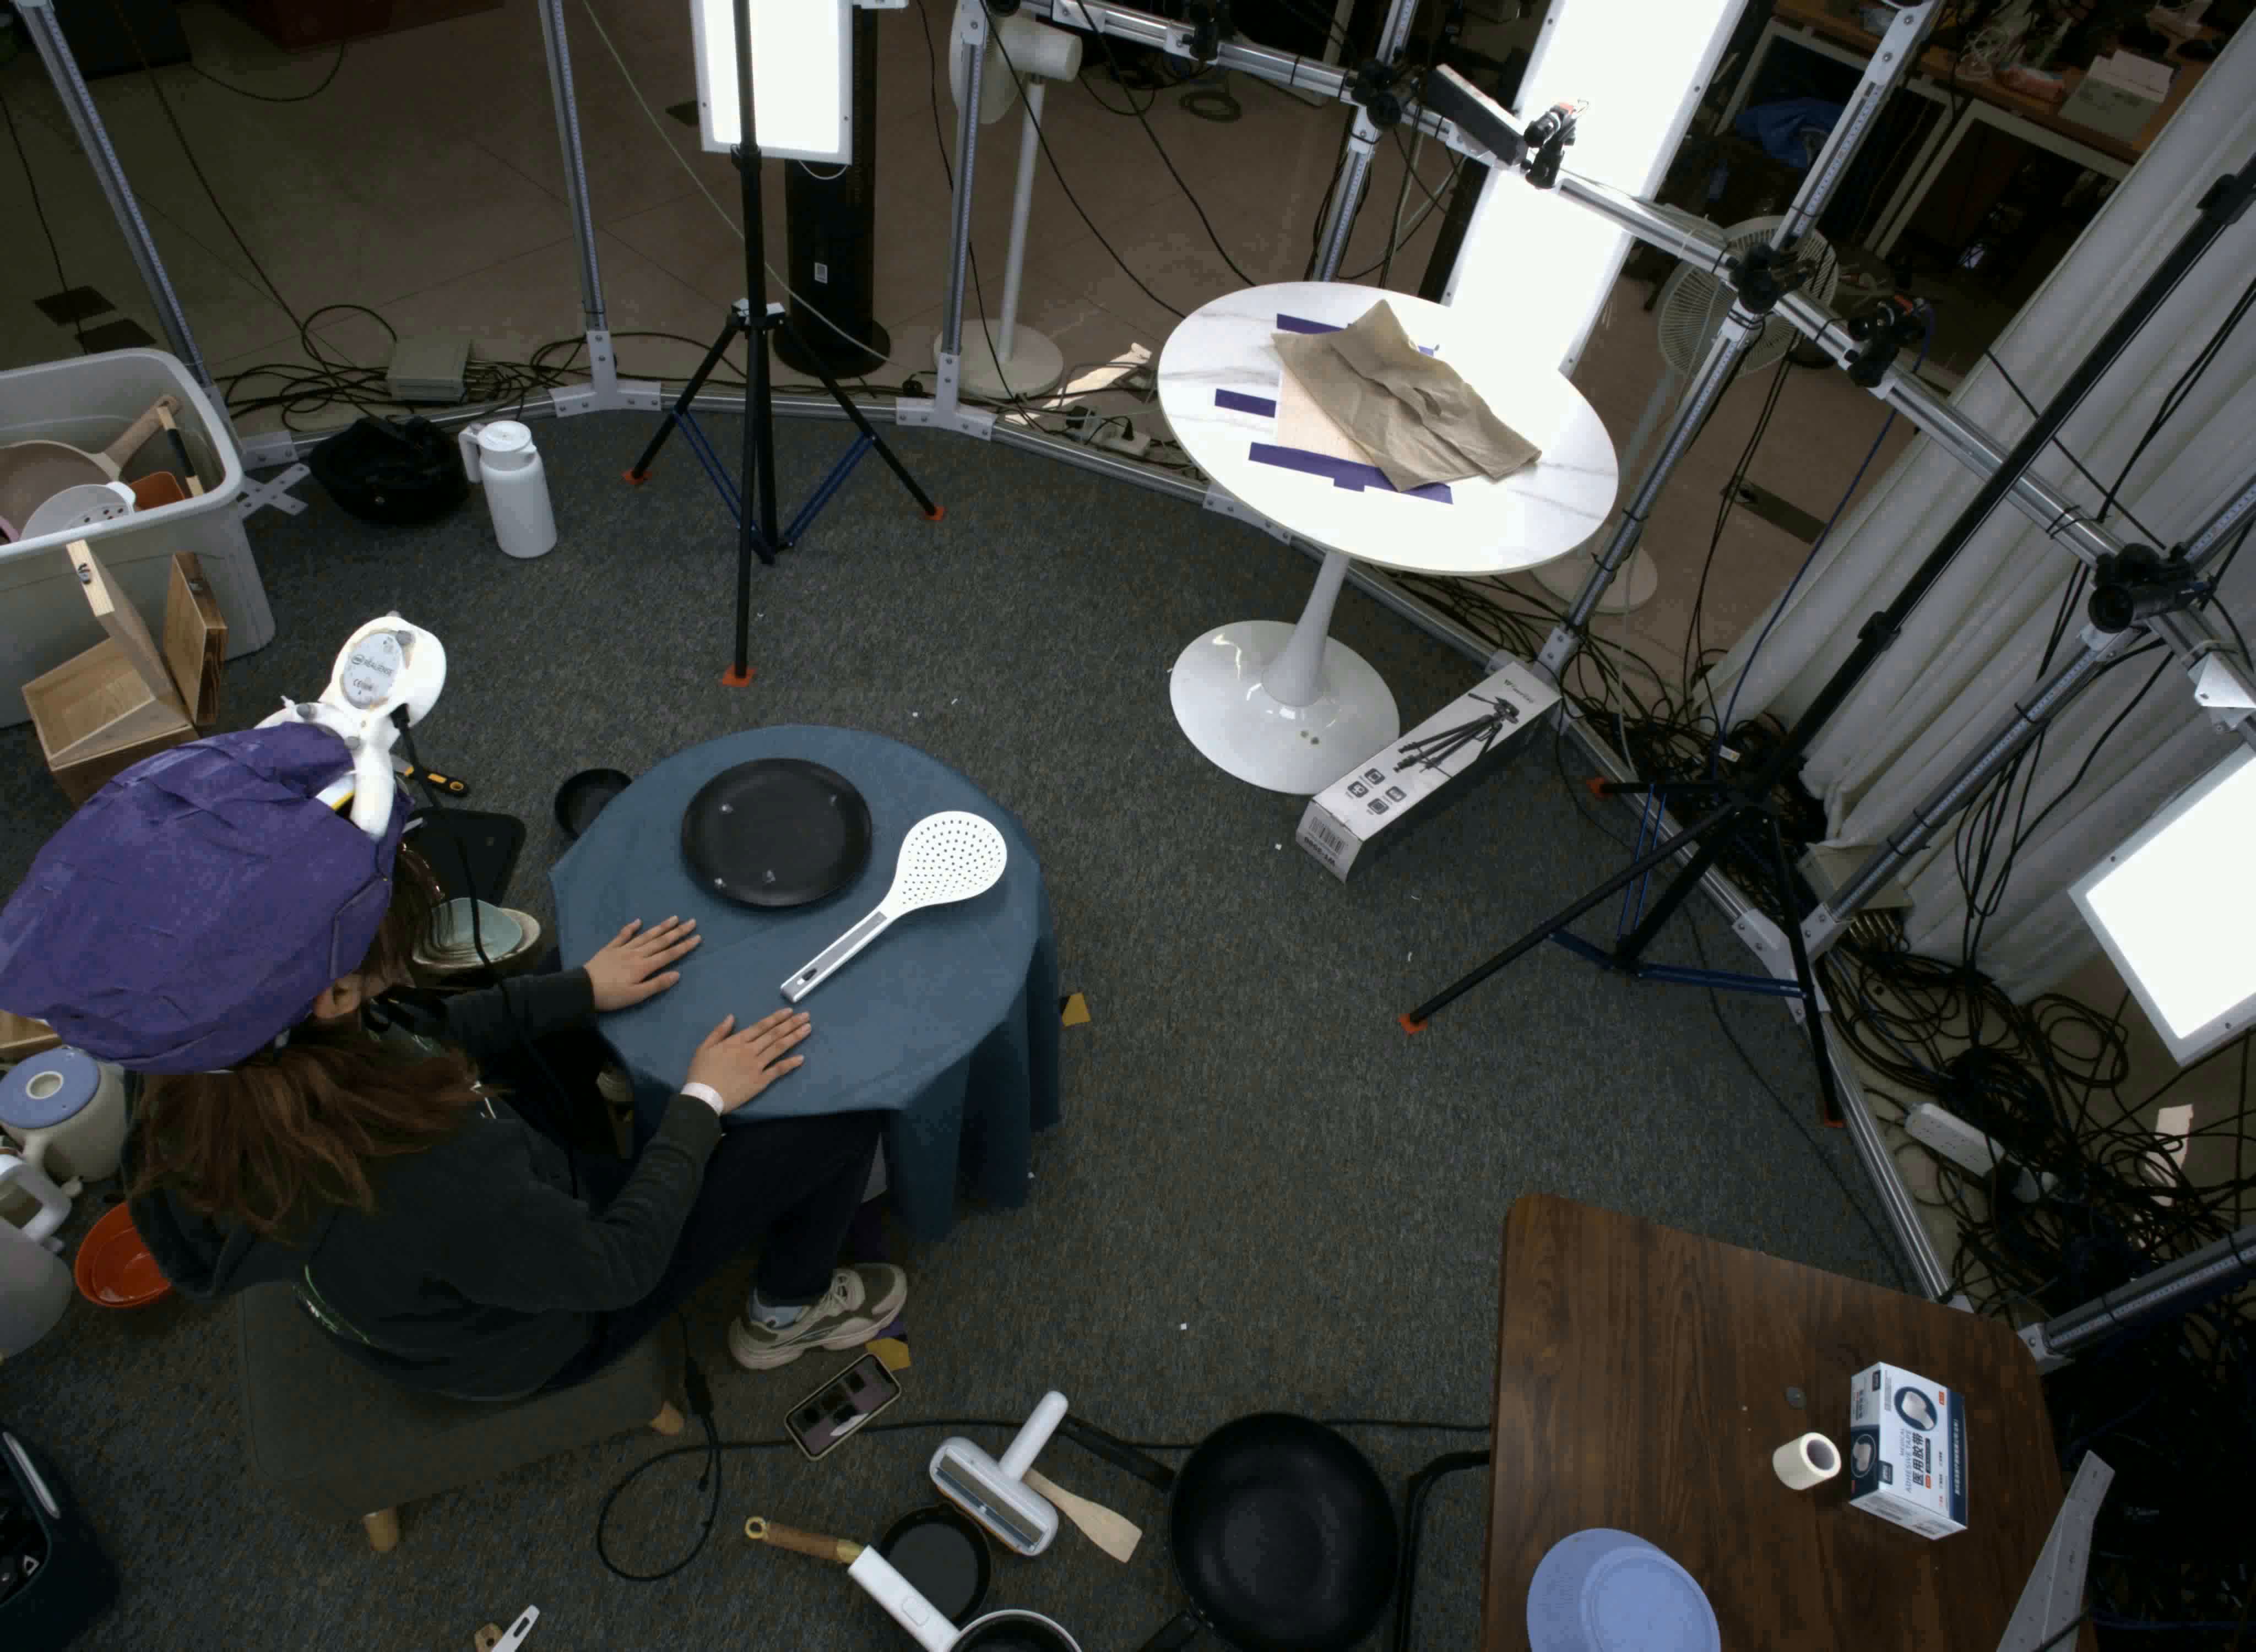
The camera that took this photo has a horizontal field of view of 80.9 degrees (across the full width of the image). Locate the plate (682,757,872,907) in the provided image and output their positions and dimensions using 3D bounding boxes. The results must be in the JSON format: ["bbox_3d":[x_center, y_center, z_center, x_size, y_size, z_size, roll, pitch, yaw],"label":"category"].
[{"bbox_3d":[-0.459,0.008,1.699,0.244,0.024,0.240,8,52,-9],"label":"plate"}]

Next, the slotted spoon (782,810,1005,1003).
[{"bbox_3d":[-0.299,0.102,1.656,0.133,0.047,0.350,38,55,17],"label":"slotted spoon"}]
